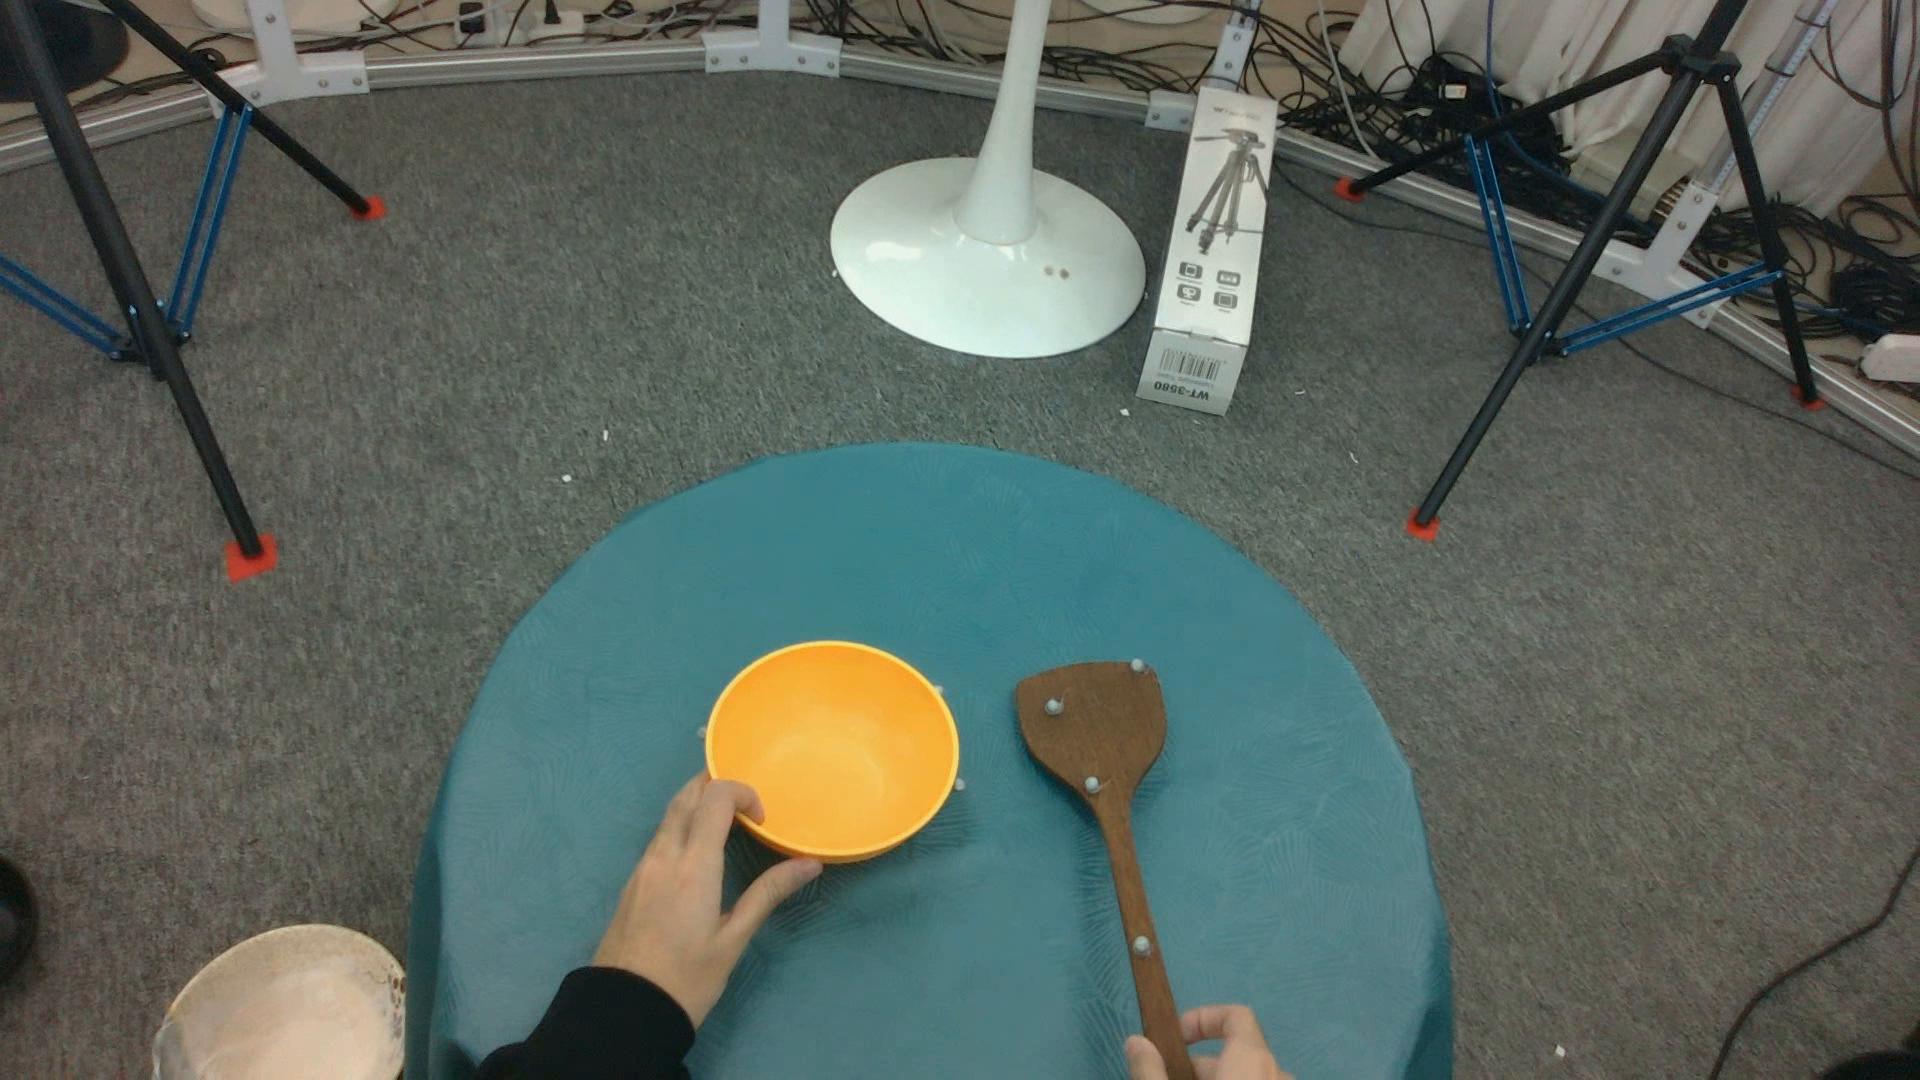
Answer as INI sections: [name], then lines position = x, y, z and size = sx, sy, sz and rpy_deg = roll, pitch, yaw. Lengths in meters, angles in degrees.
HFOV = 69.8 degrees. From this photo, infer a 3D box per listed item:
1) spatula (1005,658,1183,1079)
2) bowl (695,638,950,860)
[spatula]
position = 0.092, 0.207, 0.760
size = 0.096, 0.016, 0.387
rpy_deg = -6, 41, -2
[bowl]
position = -0.080, 0.131, 0.807
size = 0.145, 0.060, 0.146
rpy_deg = 4, 48, -5
